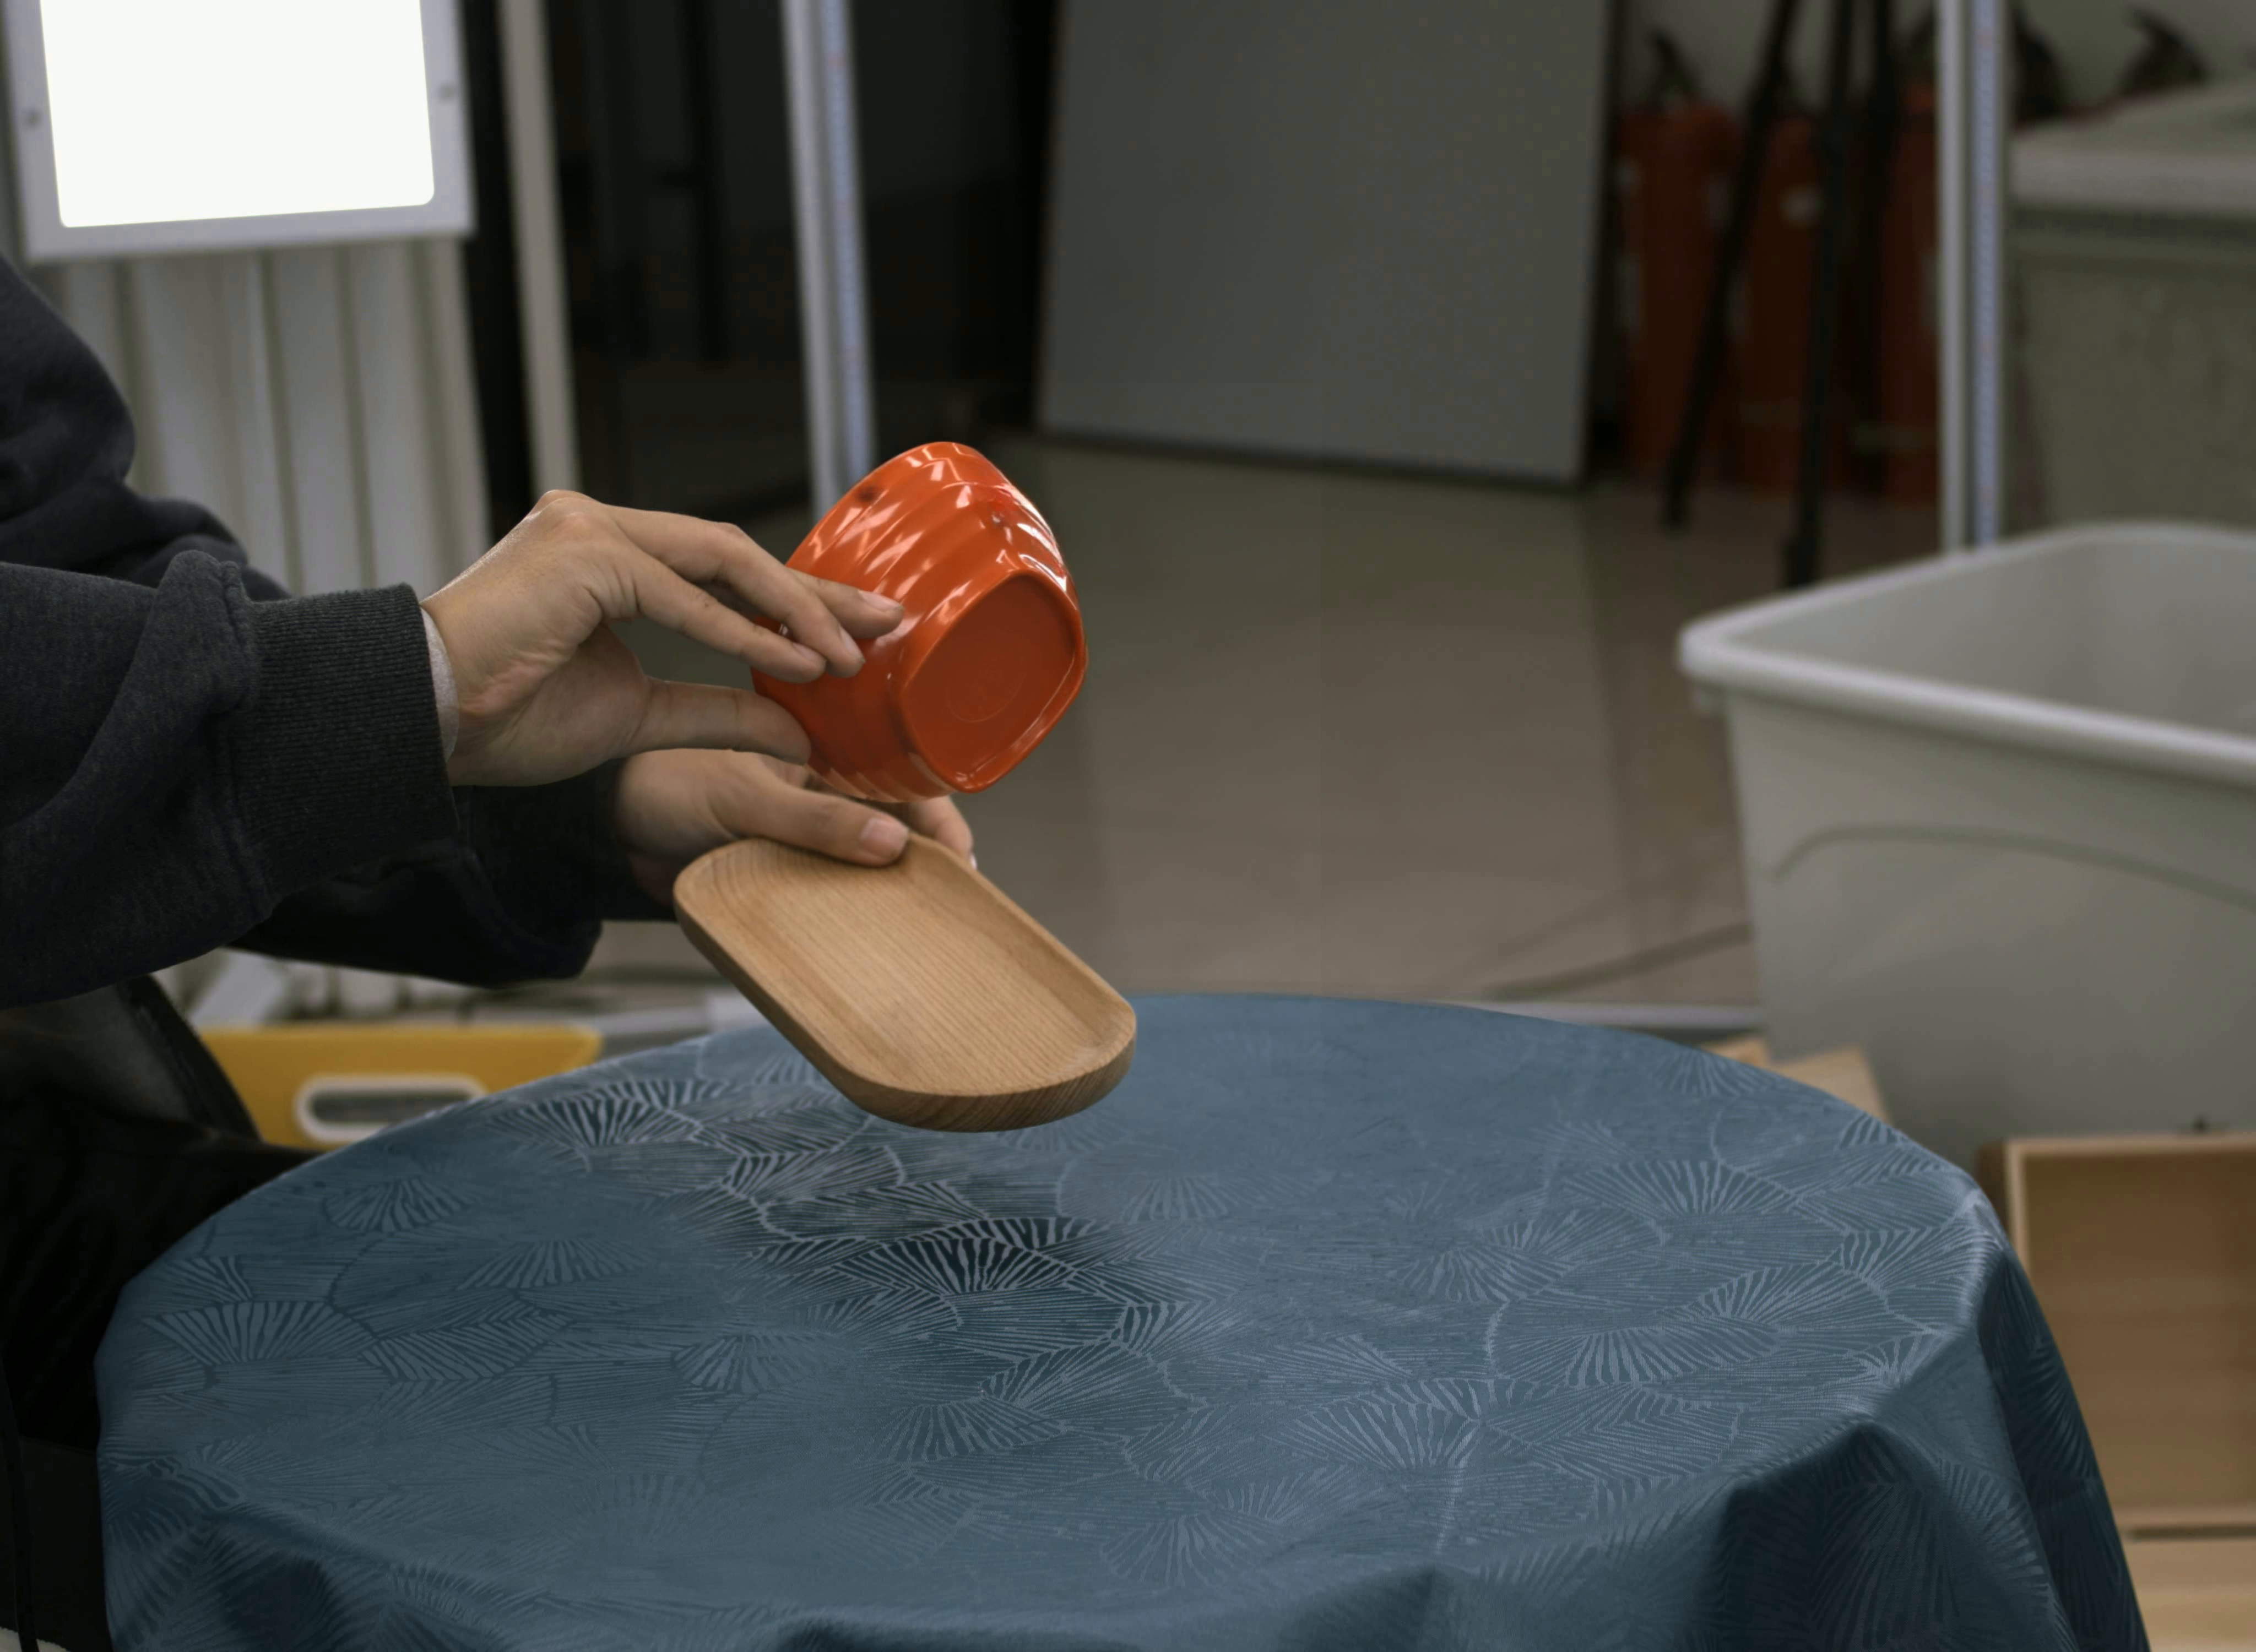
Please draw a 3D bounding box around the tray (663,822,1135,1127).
[{"bbox_3d":[-0.076,0.046,1.754,0.099,0.020,0.234,-11,23,-23],"label":"tray"}]

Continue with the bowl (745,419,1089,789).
[{"bbox_3d":[-0.056,-0.059,1.641,0.116,0.120,0.052,-14,36,-39],"label":"bowl"}]
